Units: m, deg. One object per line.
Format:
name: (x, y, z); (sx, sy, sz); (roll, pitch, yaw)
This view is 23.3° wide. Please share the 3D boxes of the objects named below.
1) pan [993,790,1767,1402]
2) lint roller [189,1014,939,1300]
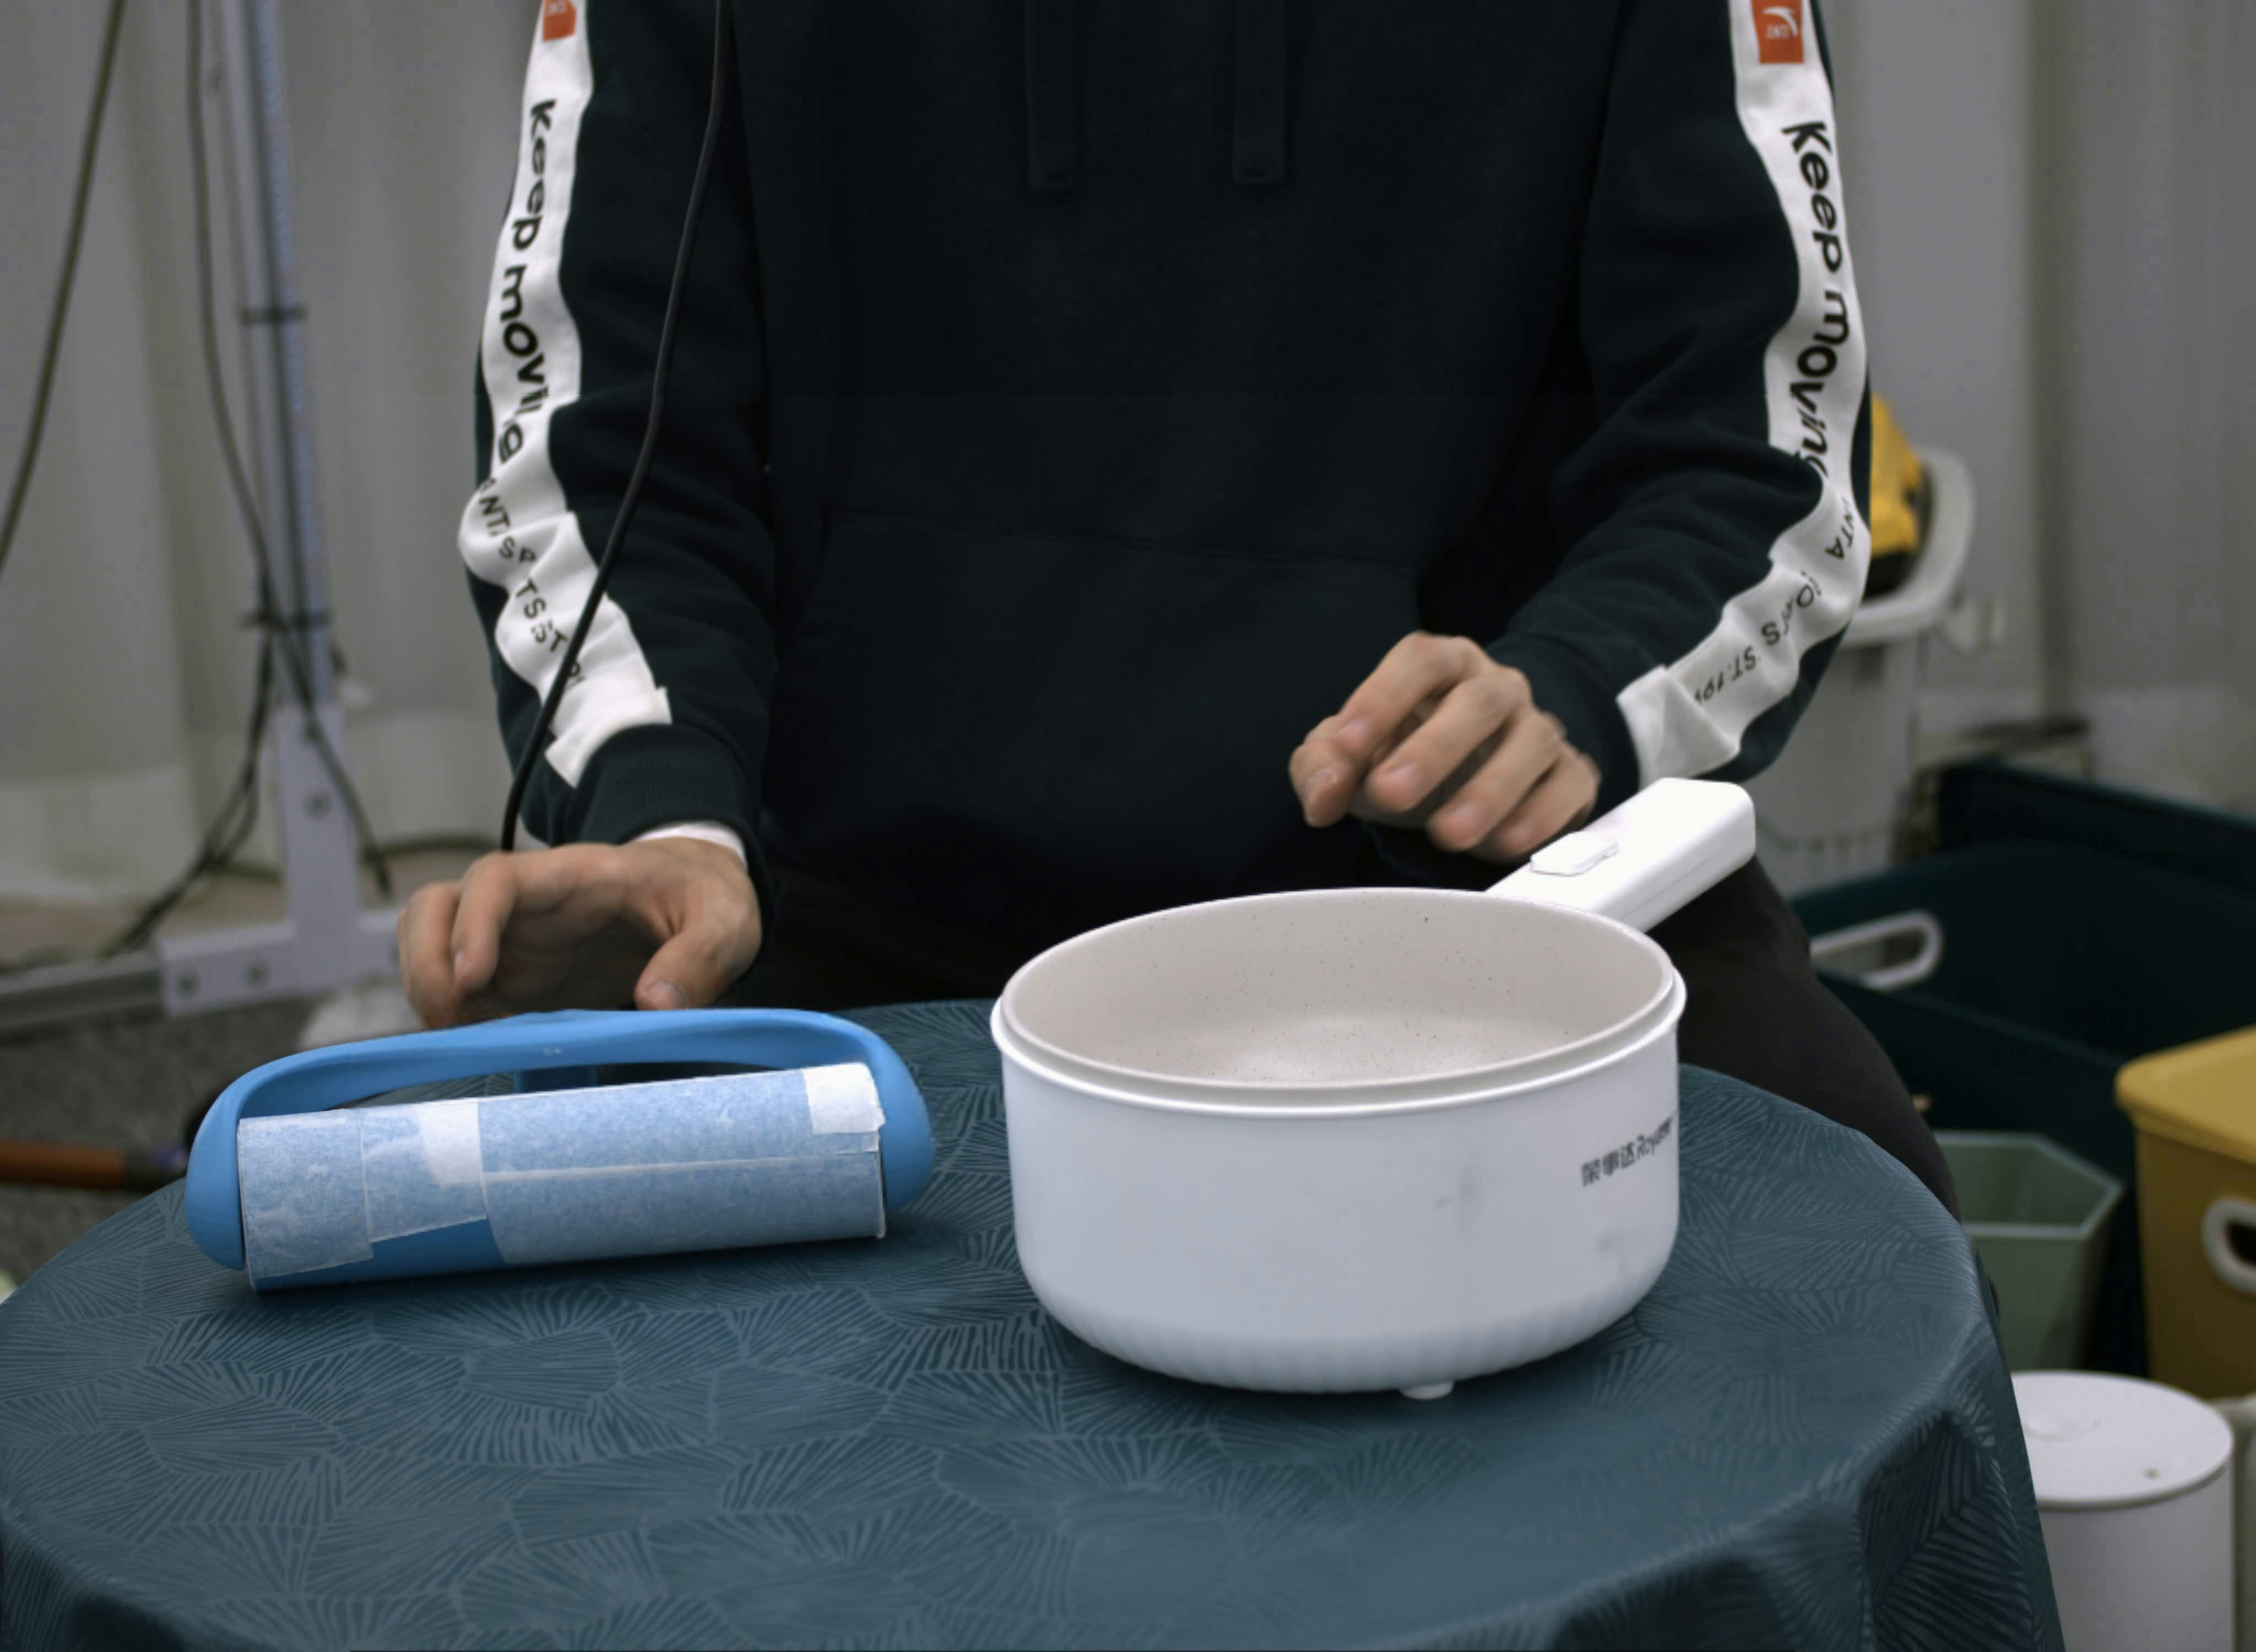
pan: (0.102, 0.076, 1.651); (0.201, 0.102, 0.355); (4, 16, 30)
lint roller: (-0.182, 0.092, 1.726); (0.228, 0.067, 0.182); (-7, 16, -8)
